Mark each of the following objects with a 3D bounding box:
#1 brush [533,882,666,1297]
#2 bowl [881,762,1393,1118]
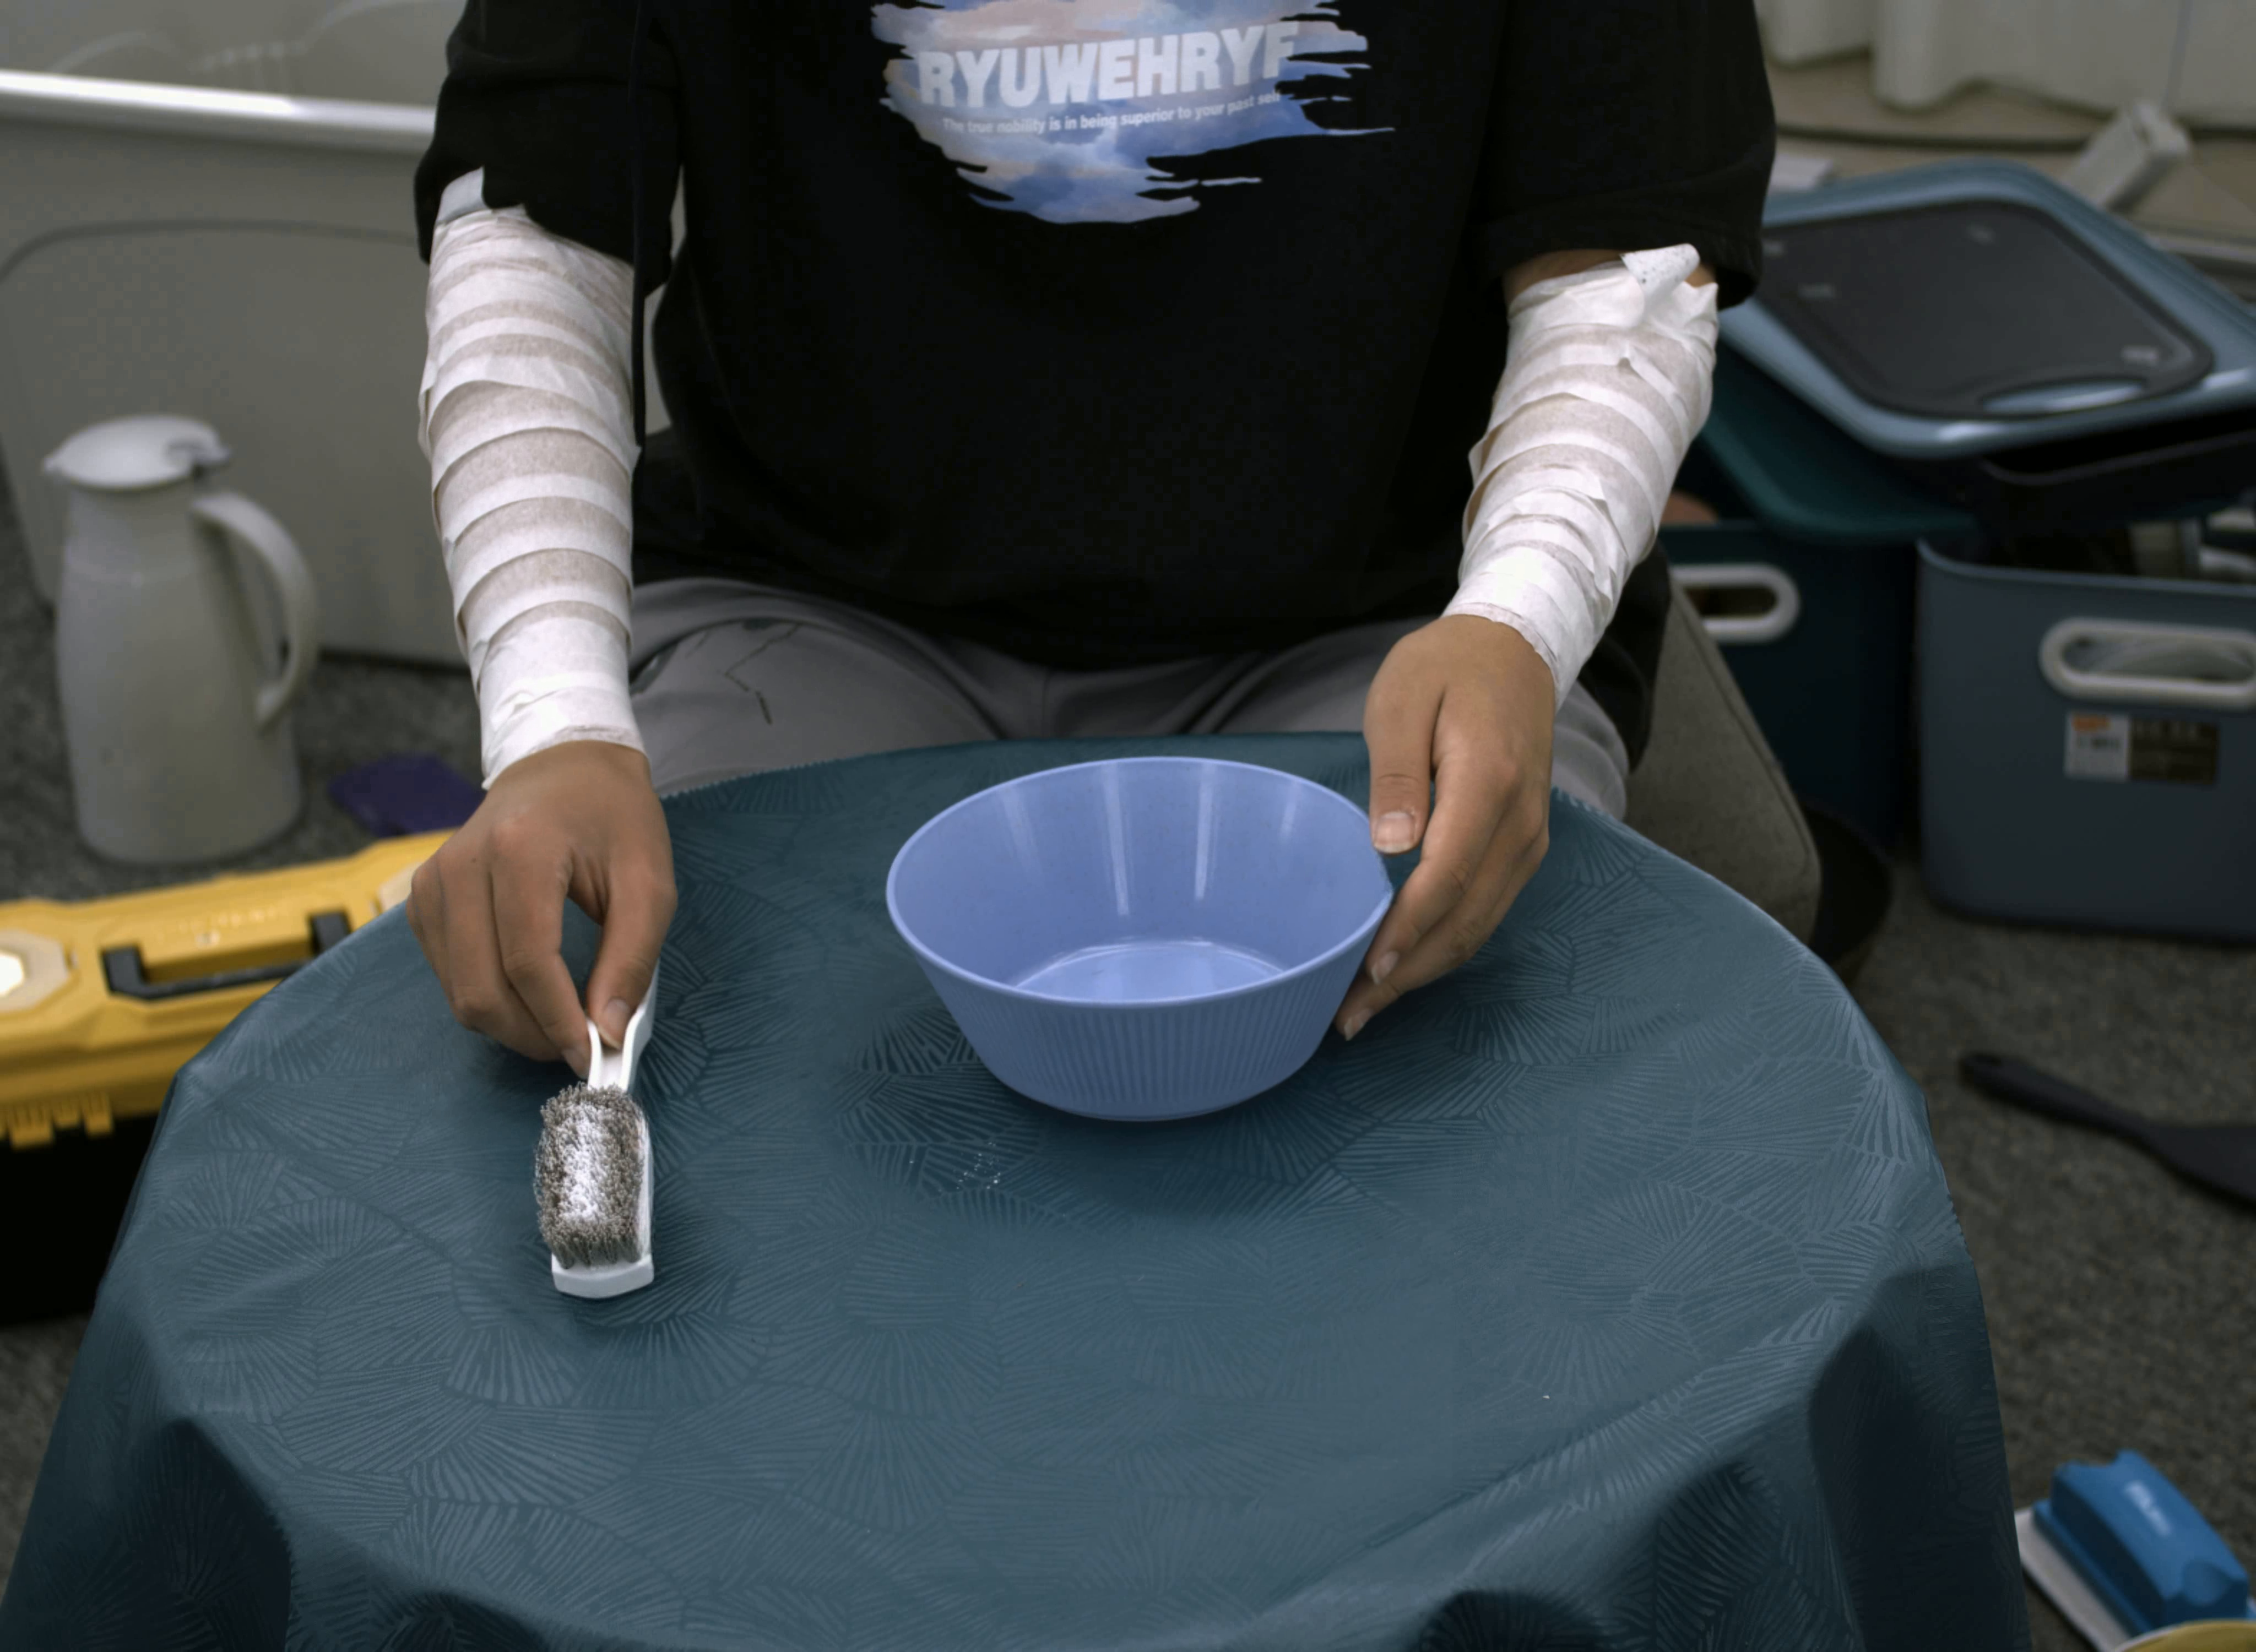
[{"bbox_3d":[-0.176,0.073,1.900,0.034,0.049,0.248,-3,33,1],"label":"brush"},{"bbox_3d":[0.004,0.045,1.934,0.175,0.069,0.179,-2,27,1],"label":"bowl"}]
